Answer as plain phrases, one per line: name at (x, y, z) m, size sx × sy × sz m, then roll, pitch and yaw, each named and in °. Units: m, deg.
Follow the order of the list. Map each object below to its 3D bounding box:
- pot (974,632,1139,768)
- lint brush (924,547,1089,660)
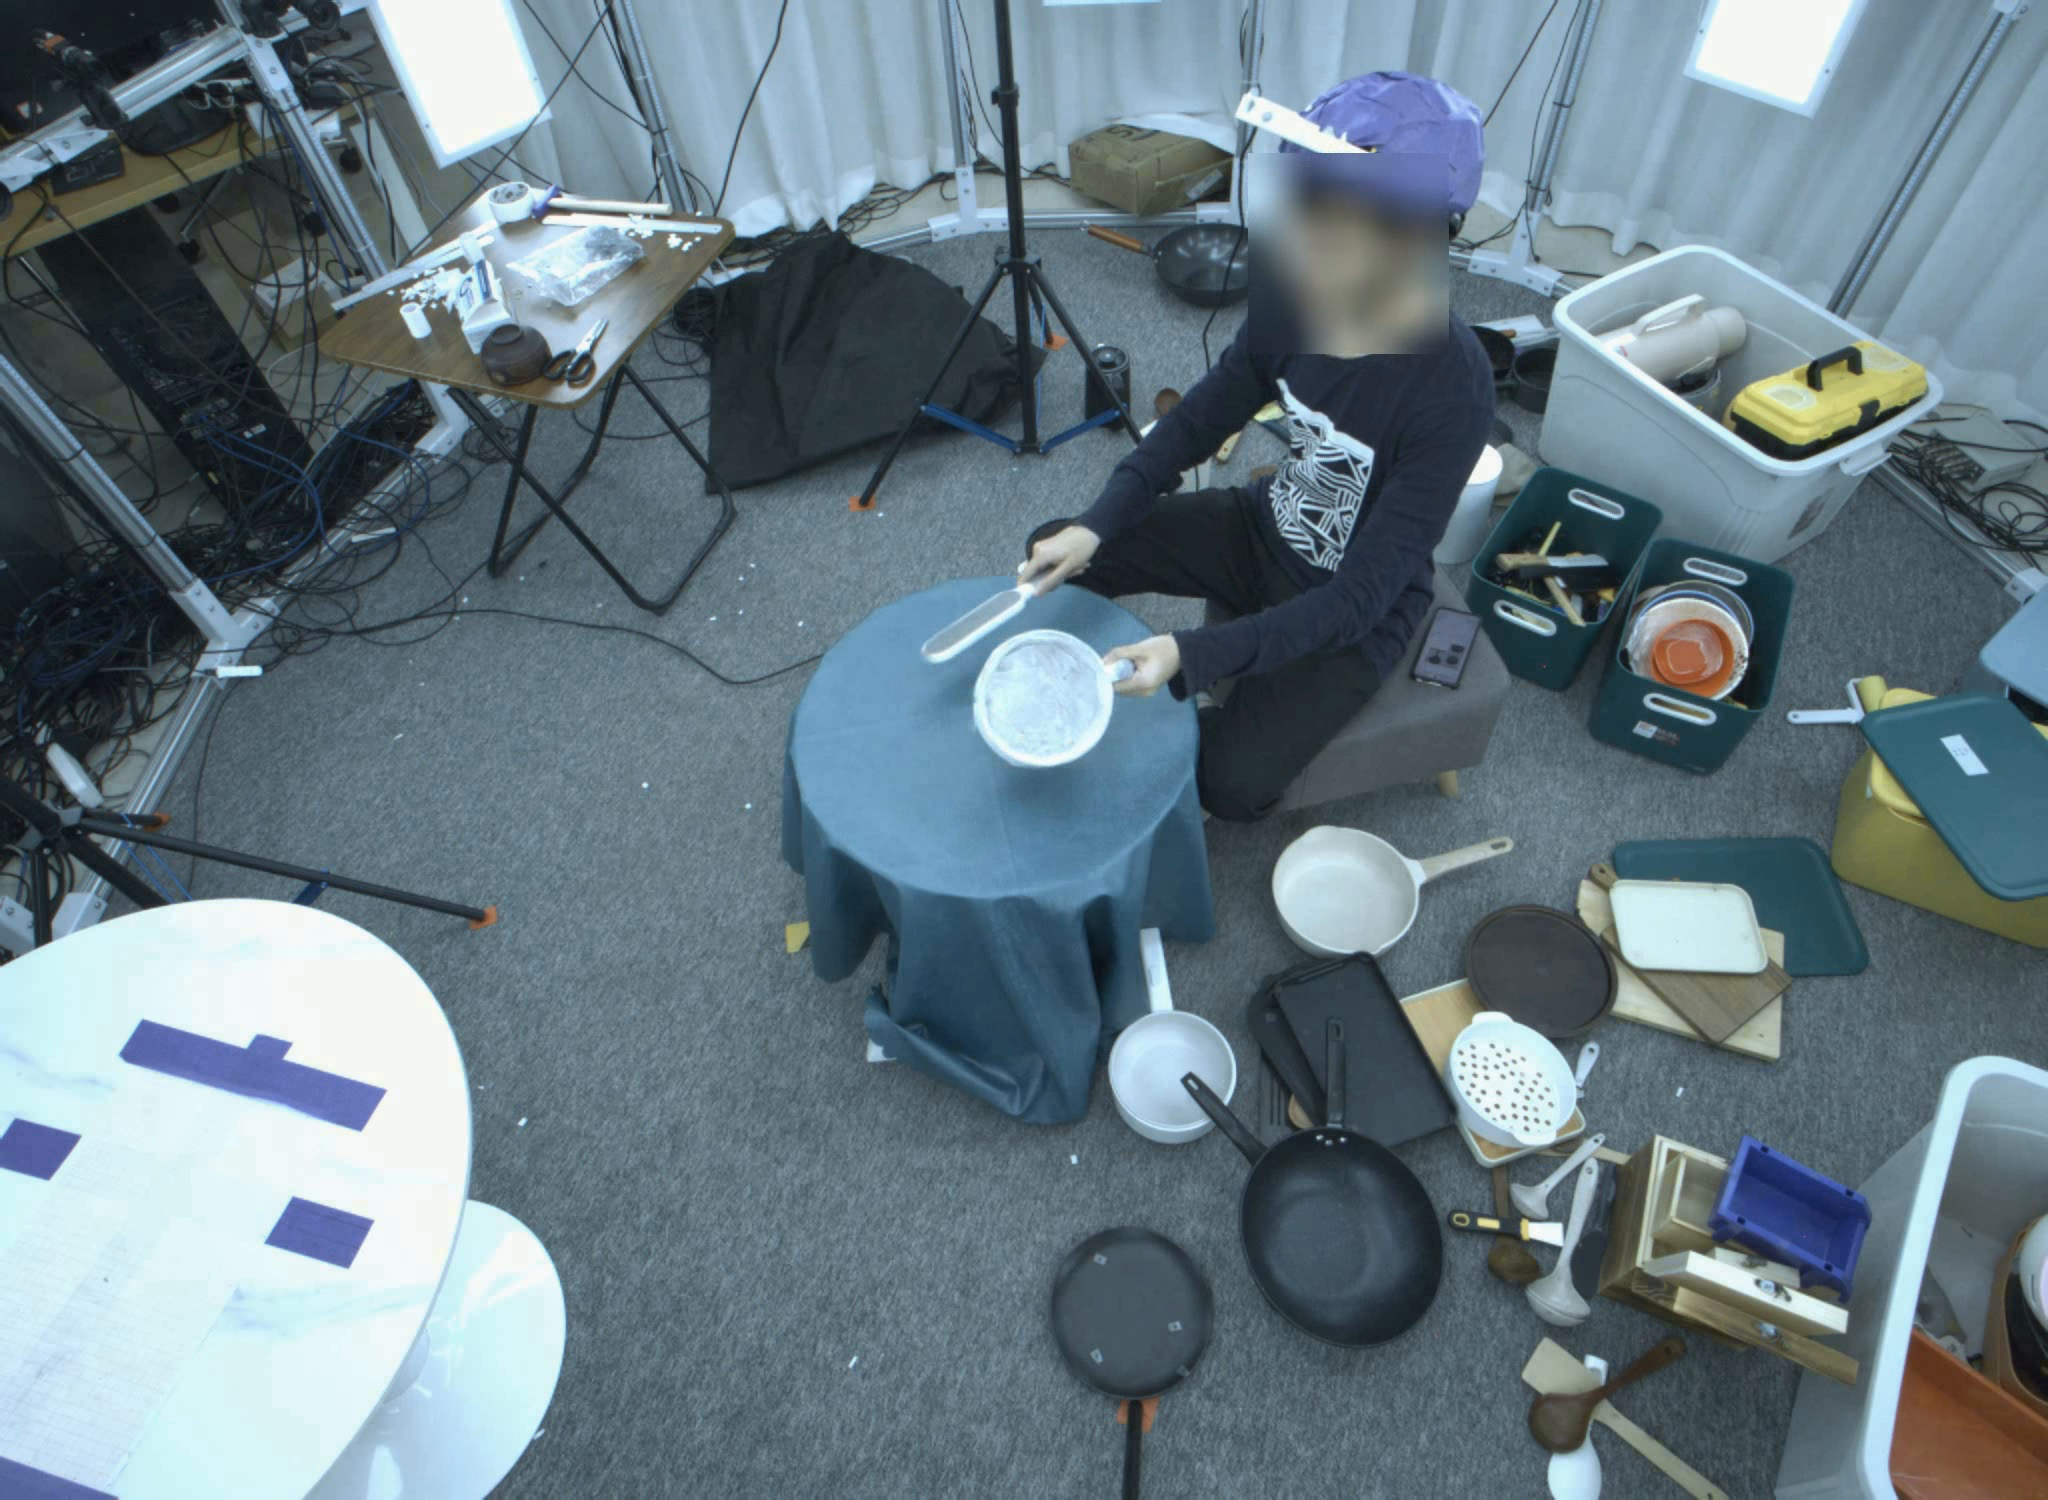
pot at (0.048, -0.077, 1.655) m, size 0.234 × 0.135 × 0.179 m, roll -22°, pitch 95°, yaw -6°
lint brush at (-0.022, -0.222, 1.842) m, size 0.311 × 0.021 × 0.058 m, roll -36°, pitch 35°, yaw -19°
